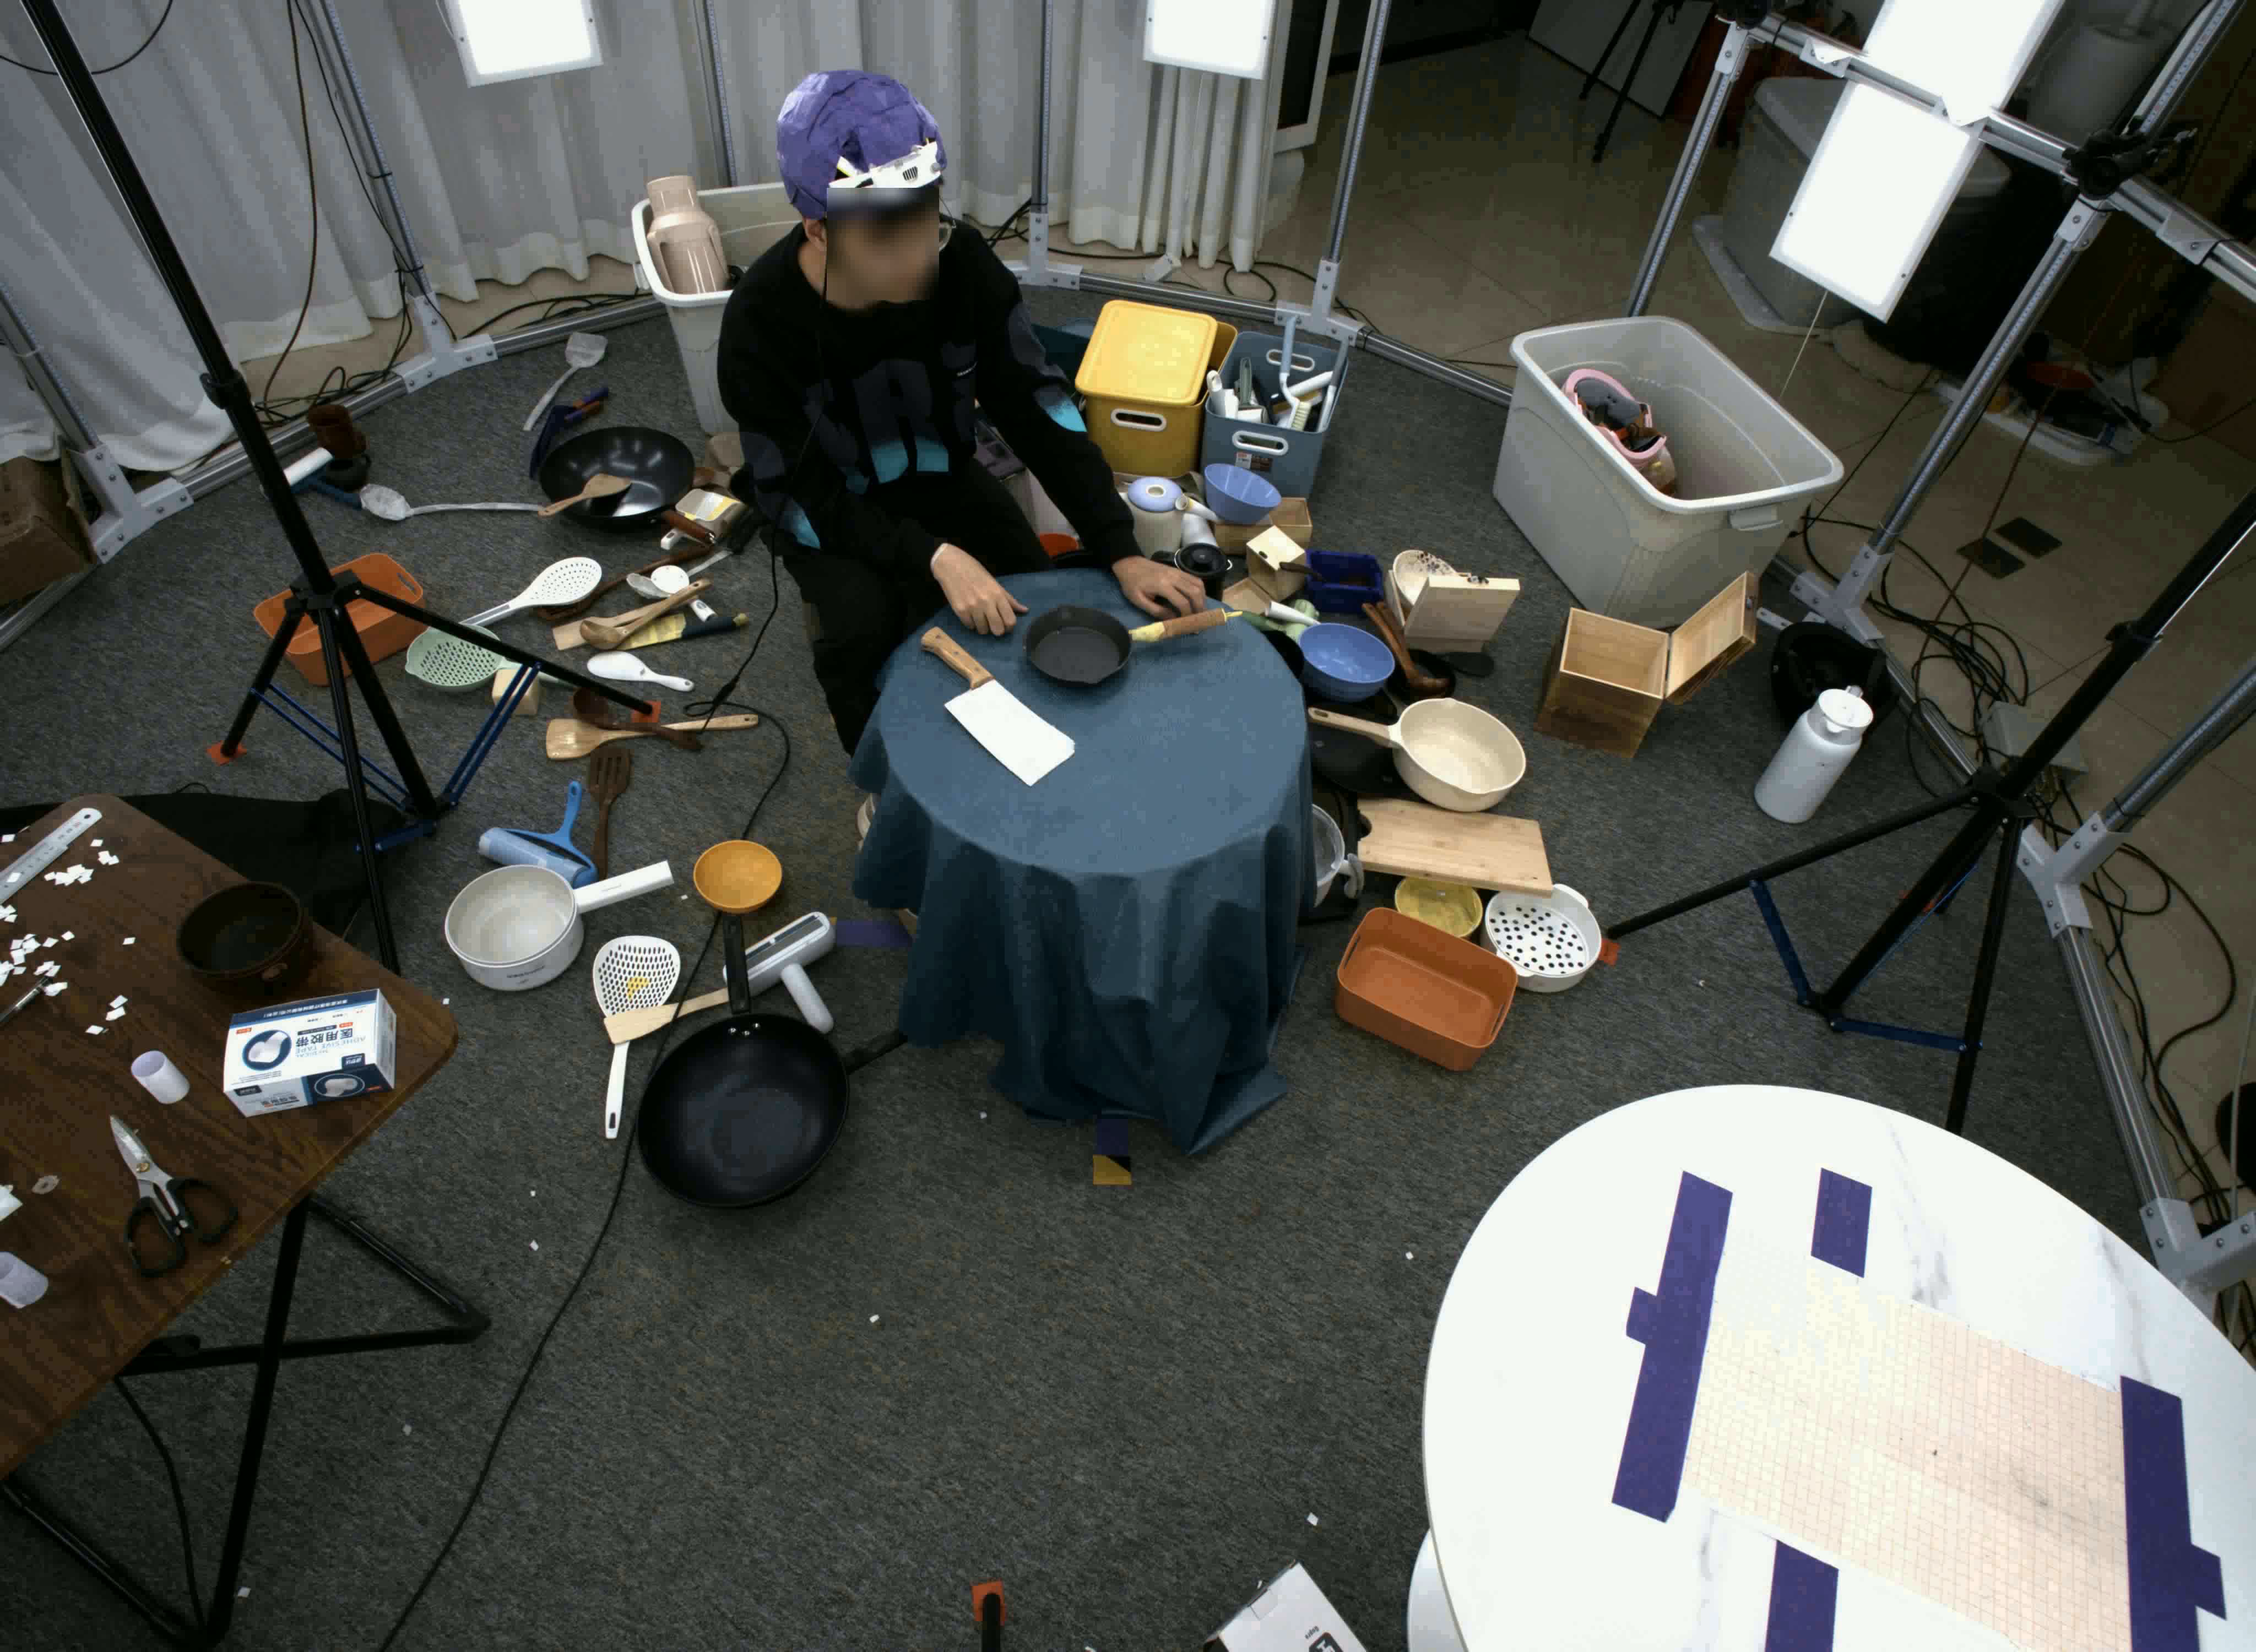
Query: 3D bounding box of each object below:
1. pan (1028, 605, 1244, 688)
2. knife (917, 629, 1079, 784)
[{"bbox_3d":[0.014,-0.275,1.876,0.324,0.048,0.173,-11,50,-11],"label":"pan"},{"bbox_3d":[-0.192,-0.175,1.796,0.114,0.021,0.321,-30,60,-26],"label":"knife"}]
